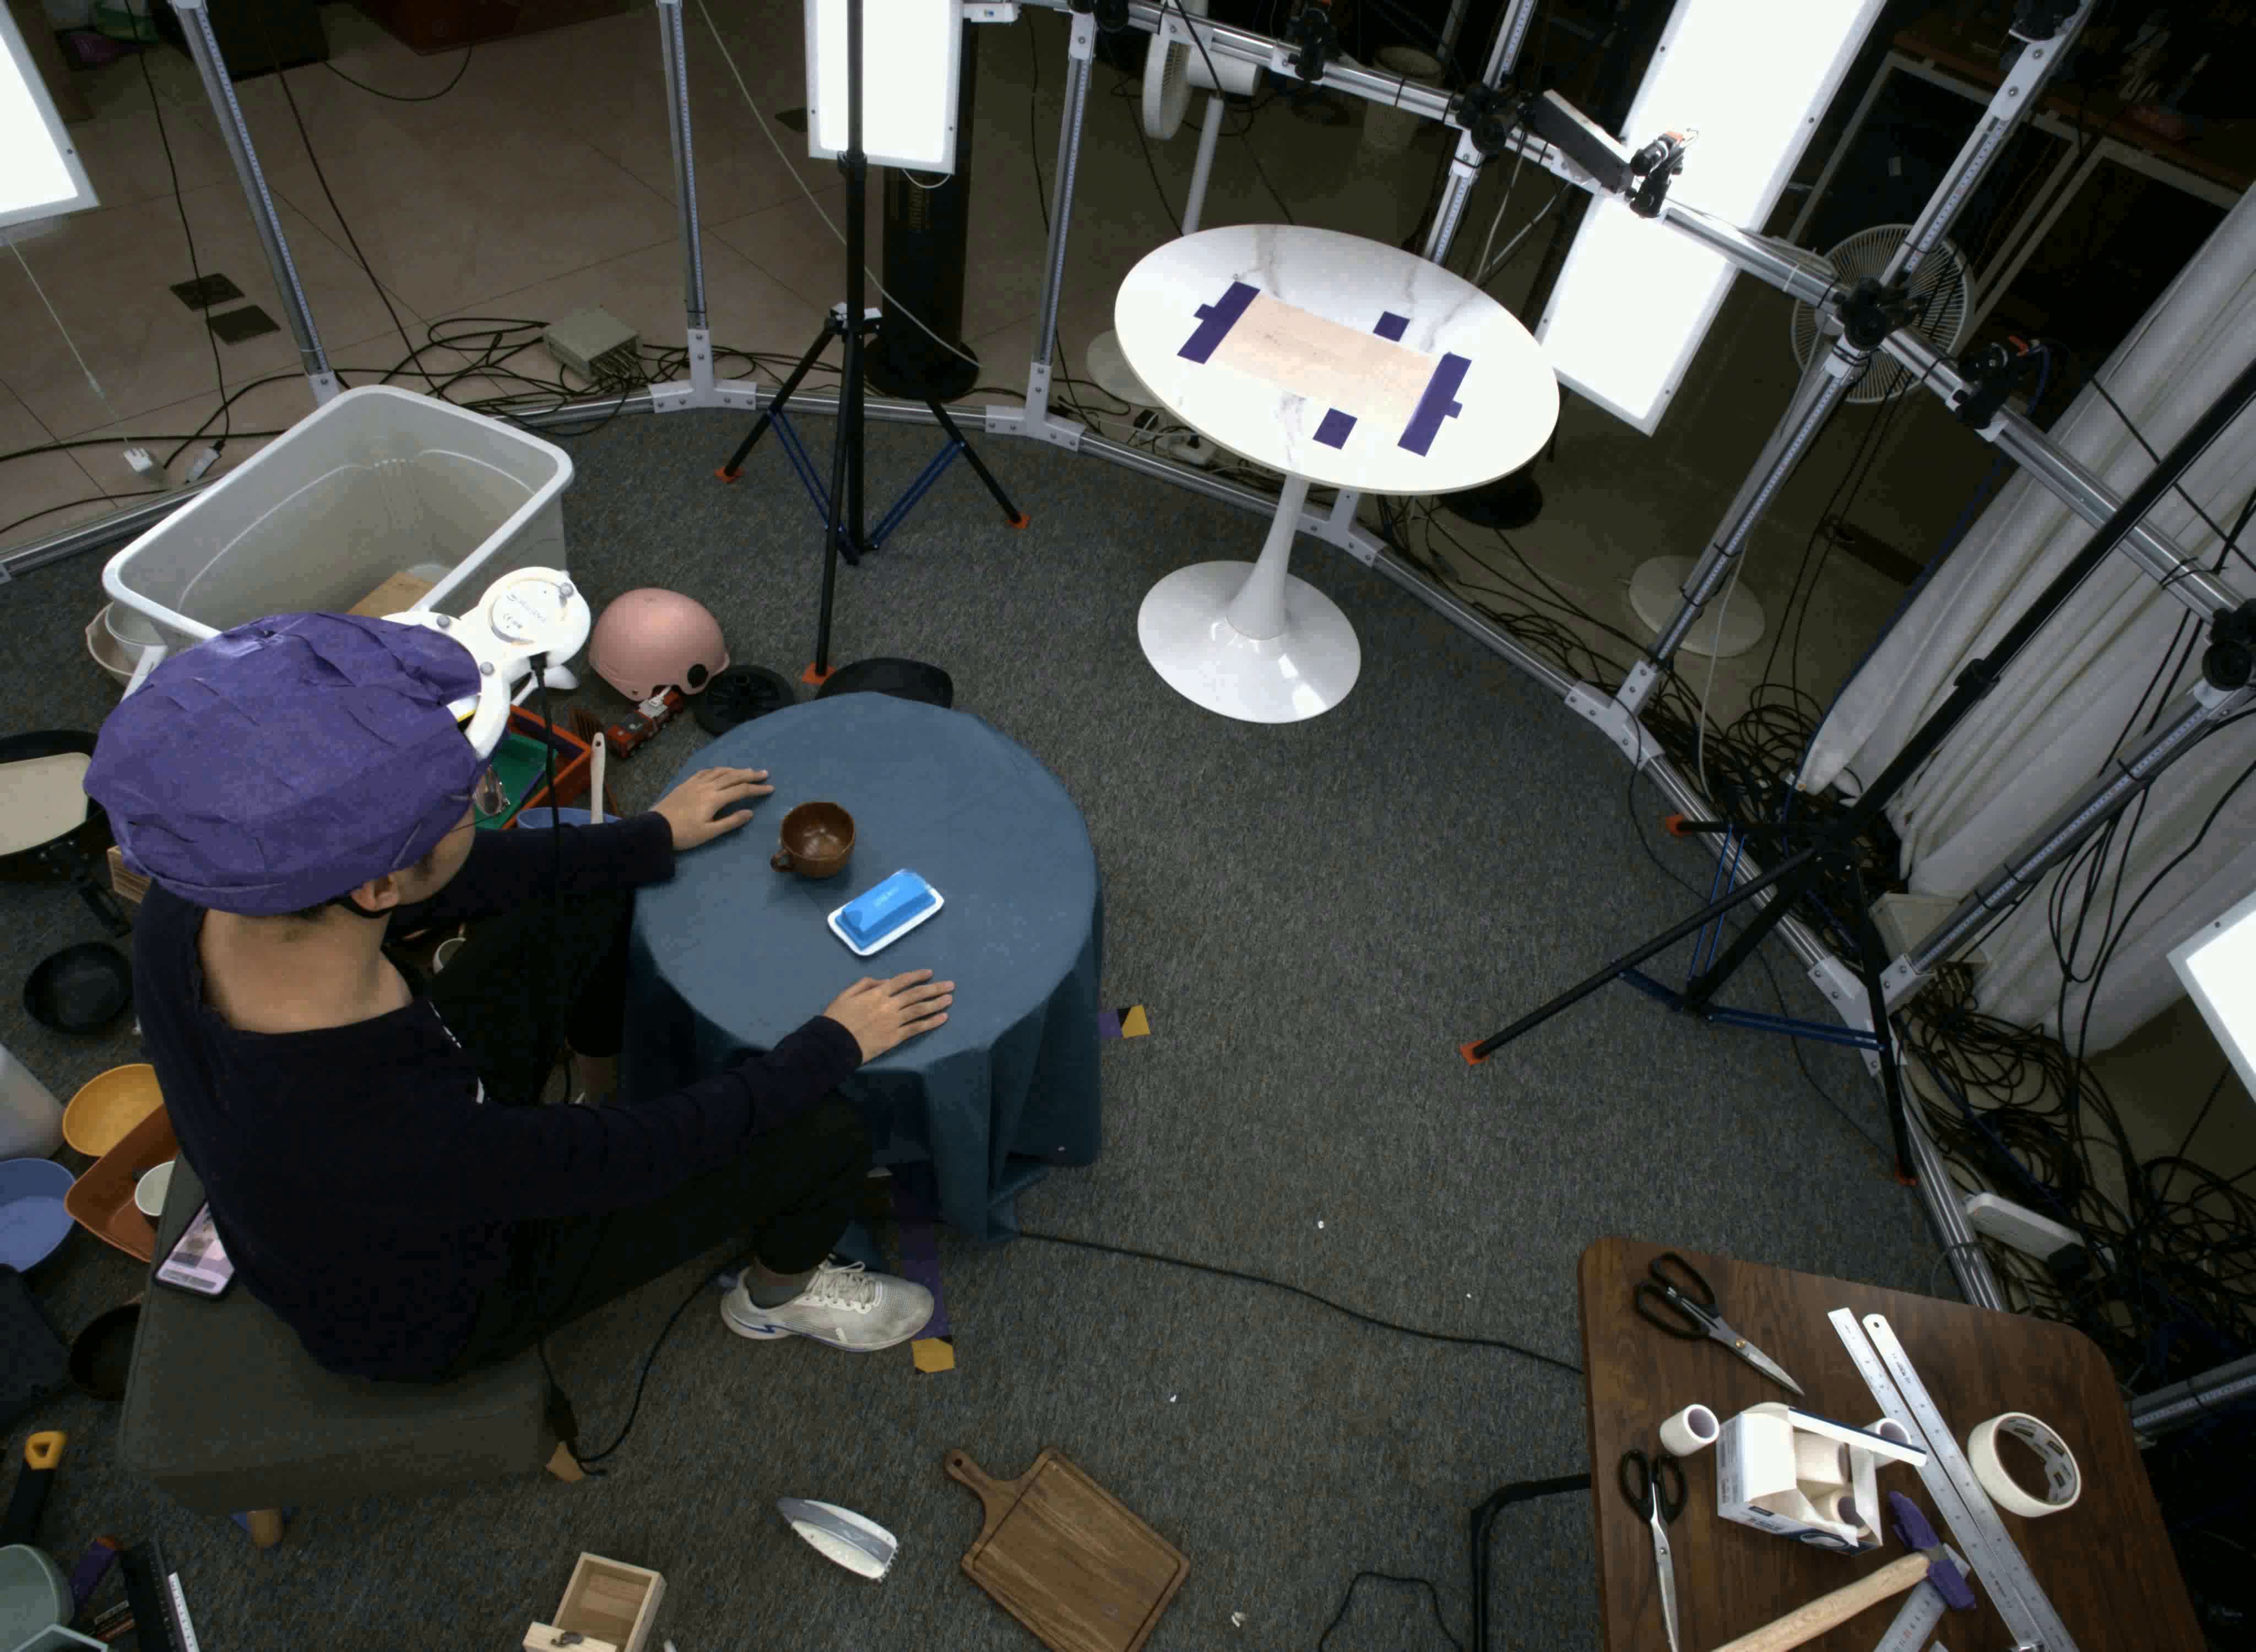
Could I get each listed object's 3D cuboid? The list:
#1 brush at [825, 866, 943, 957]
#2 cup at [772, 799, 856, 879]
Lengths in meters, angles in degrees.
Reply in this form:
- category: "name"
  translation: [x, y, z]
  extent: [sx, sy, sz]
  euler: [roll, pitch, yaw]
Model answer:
- category: "brush"
  translation: [-0.308, 0.099, 1.641]
  extent: [0.144, 0.057, 0.081]
  euler: [-32, 62, -34]
- category: "cup"
  translation: [-0.408, 0.028, 1.667]
  extent: [0.094, 0.069, 0.119]
  euler: [43, 59, 15]
